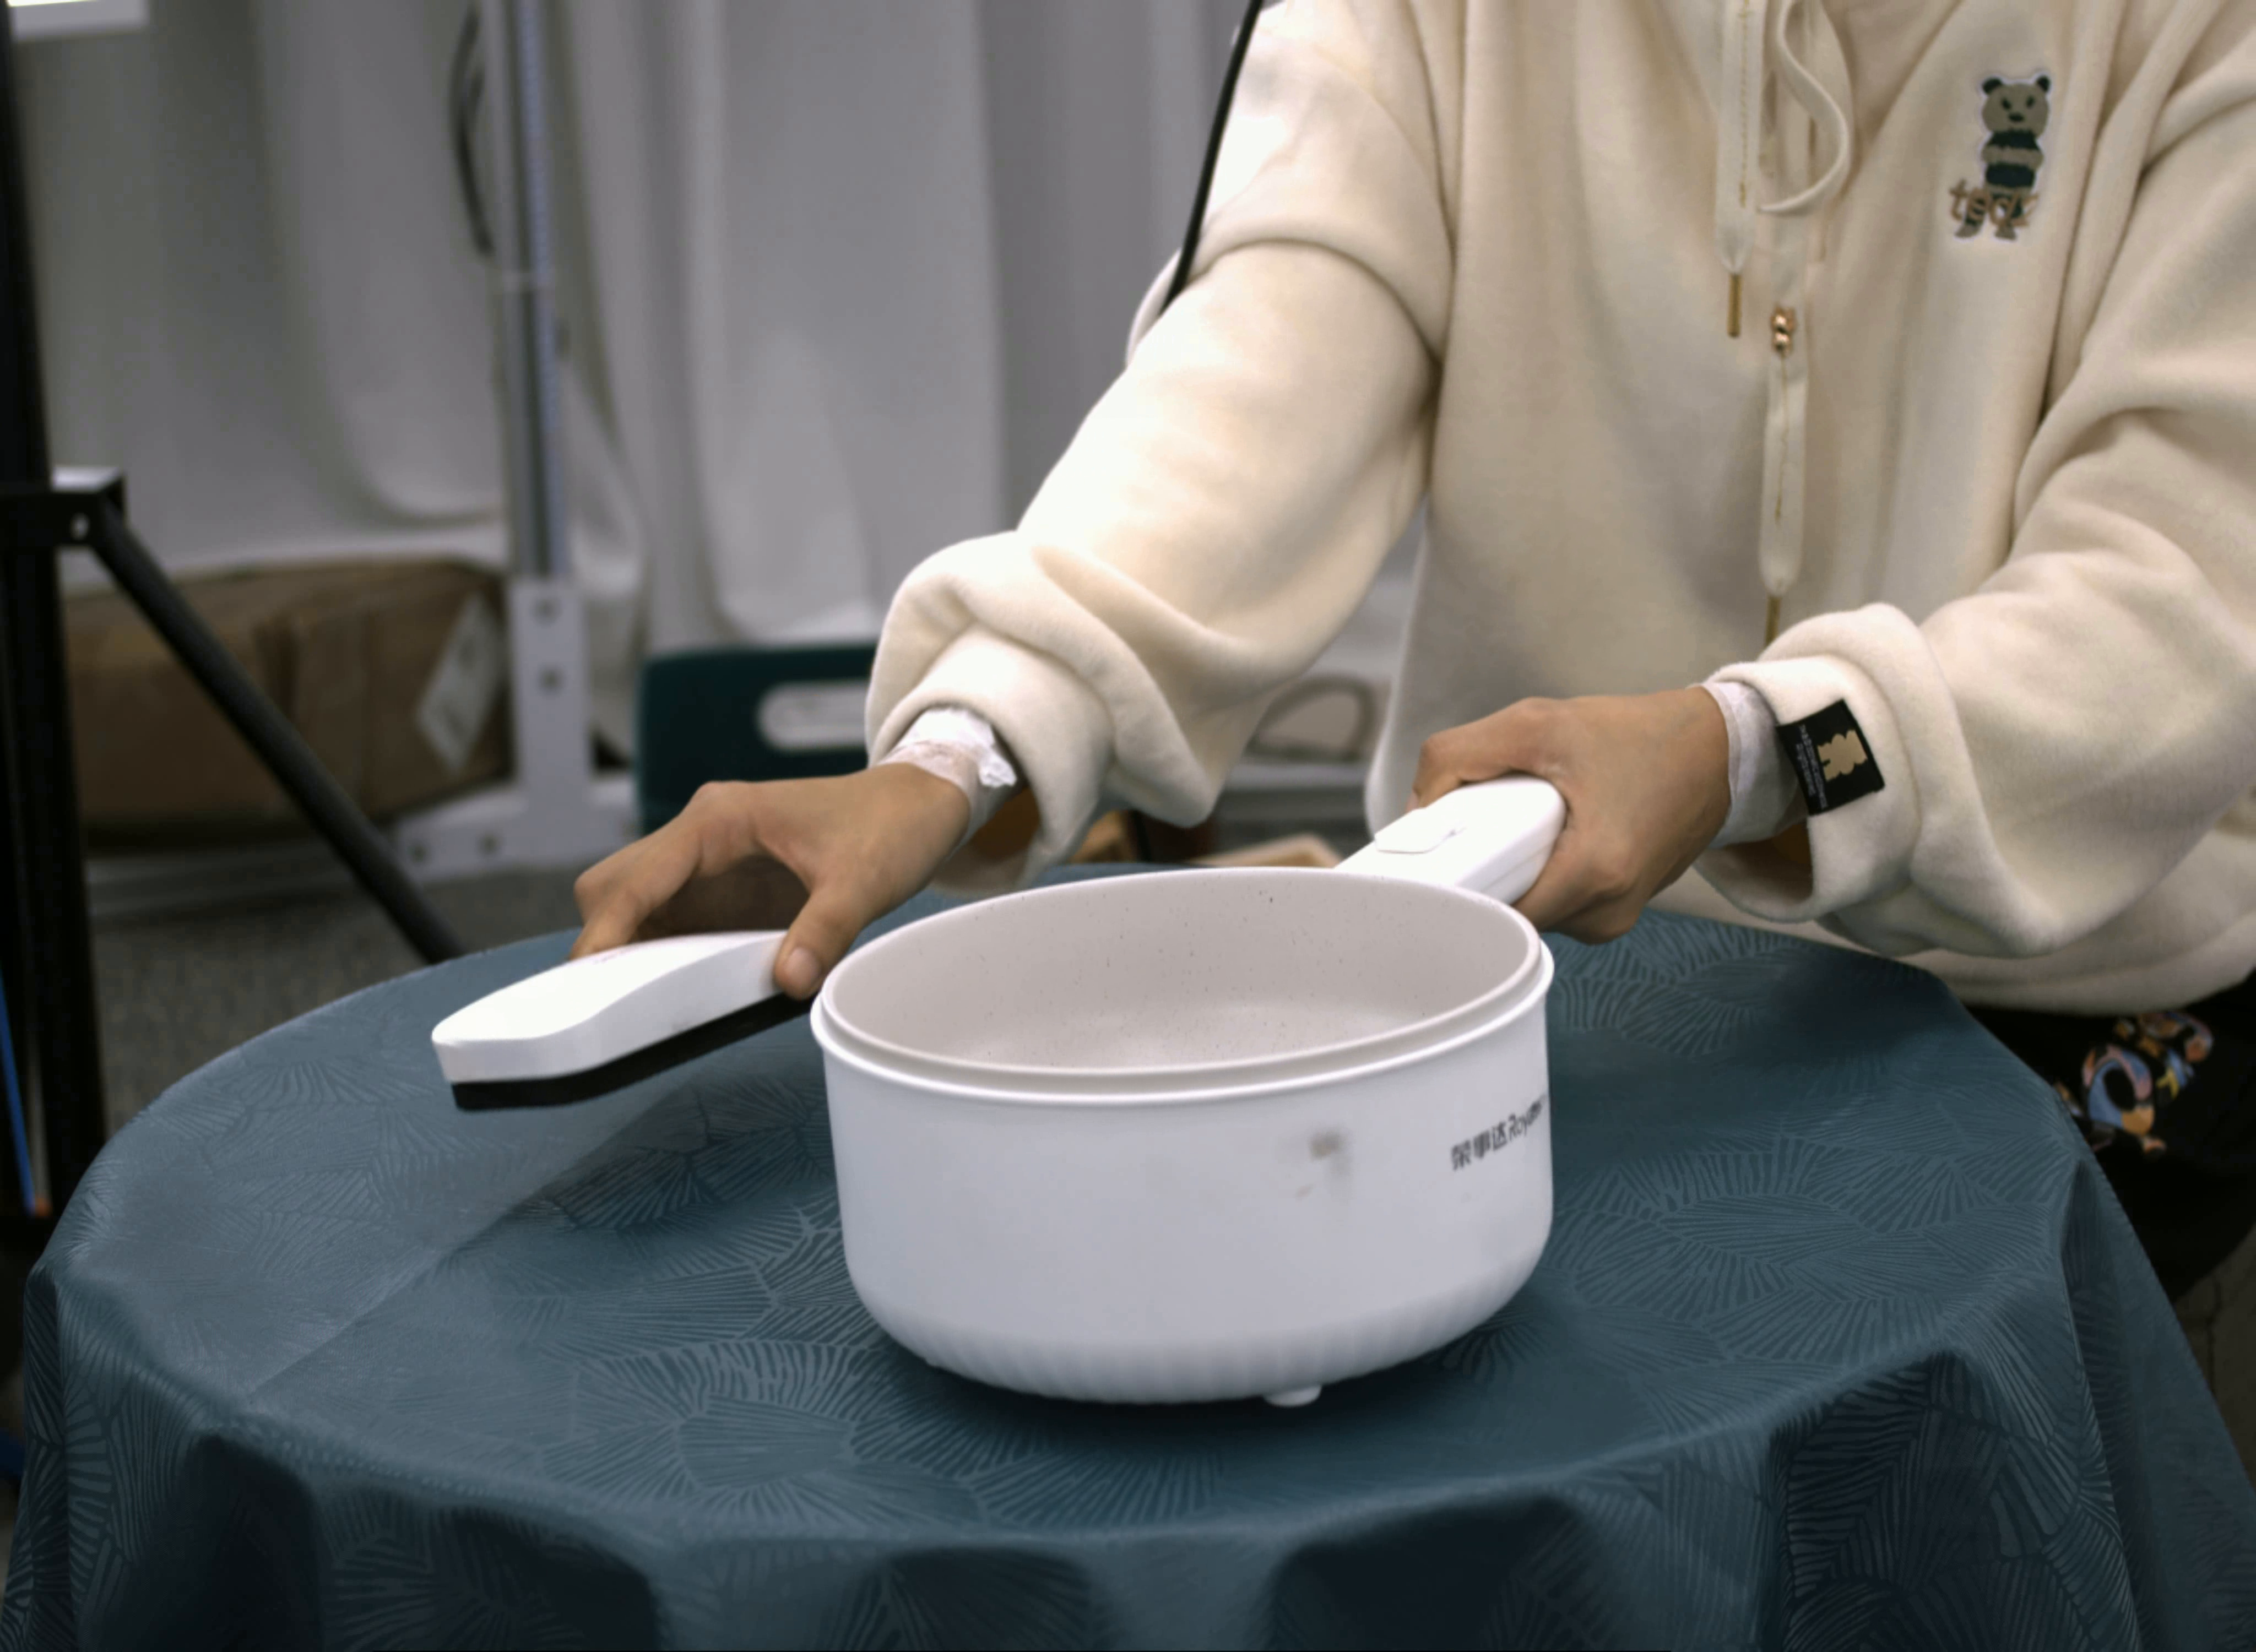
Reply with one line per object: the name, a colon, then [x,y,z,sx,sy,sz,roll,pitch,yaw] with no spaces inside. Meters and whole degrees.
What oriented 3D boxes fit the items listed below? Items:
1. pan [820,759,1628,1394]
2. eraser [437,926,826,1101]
pan: [0.053,0.064,1.500,0.204,0.102,0.348,6,15,28]
eraser: [-0.145,0.052,1.592,0.064,0.034,0.128,-4,10,36]
